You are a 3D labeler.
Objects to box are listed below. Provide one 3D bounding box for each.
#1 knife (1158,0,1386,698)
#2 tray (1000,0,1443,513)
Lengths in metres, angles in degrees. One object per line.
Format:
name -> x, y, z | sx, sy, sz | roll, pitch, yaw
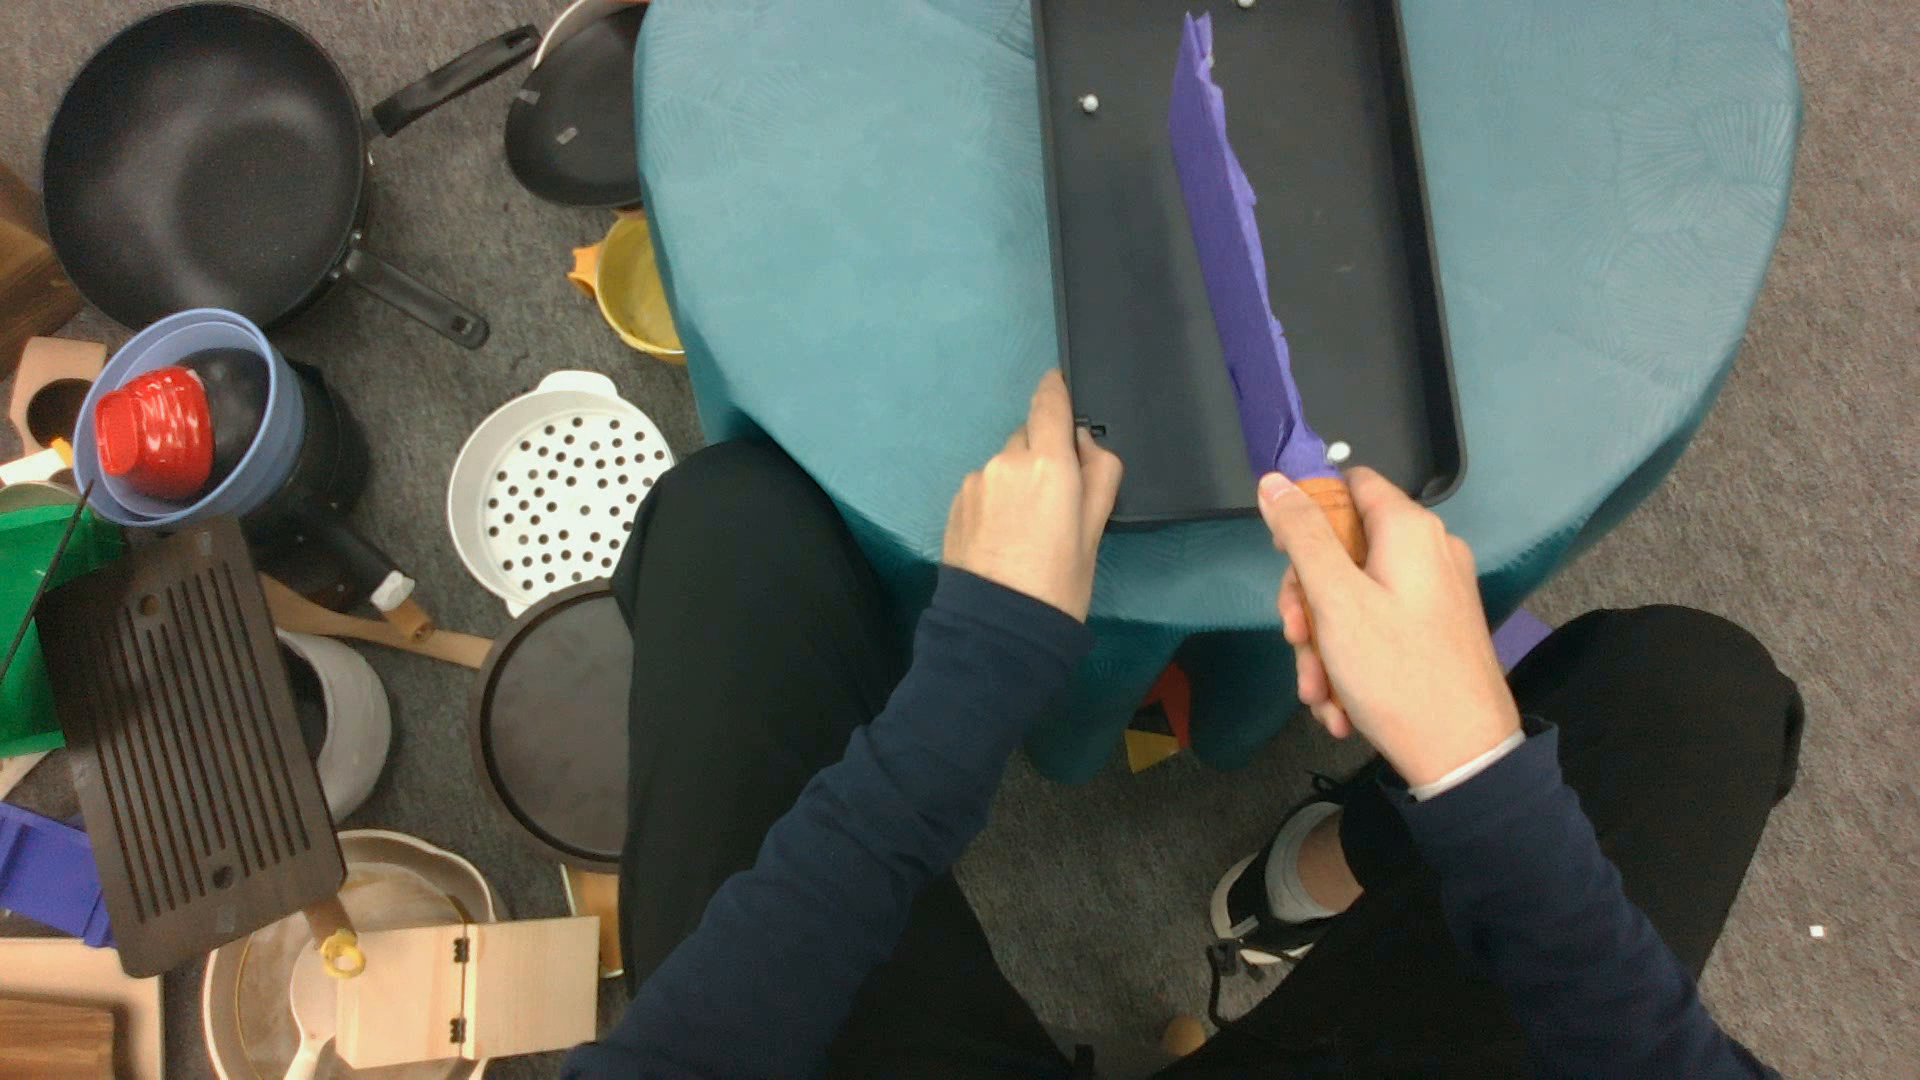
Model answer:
knife -> 0.128, -0.081, 0.600 | 0.032, 0.103, 0.316 | -9, 71, 2
tray -> 0.121, -0.174, 0.681 | 0.184, 0.037, 0.318 | -5, 78, -4
